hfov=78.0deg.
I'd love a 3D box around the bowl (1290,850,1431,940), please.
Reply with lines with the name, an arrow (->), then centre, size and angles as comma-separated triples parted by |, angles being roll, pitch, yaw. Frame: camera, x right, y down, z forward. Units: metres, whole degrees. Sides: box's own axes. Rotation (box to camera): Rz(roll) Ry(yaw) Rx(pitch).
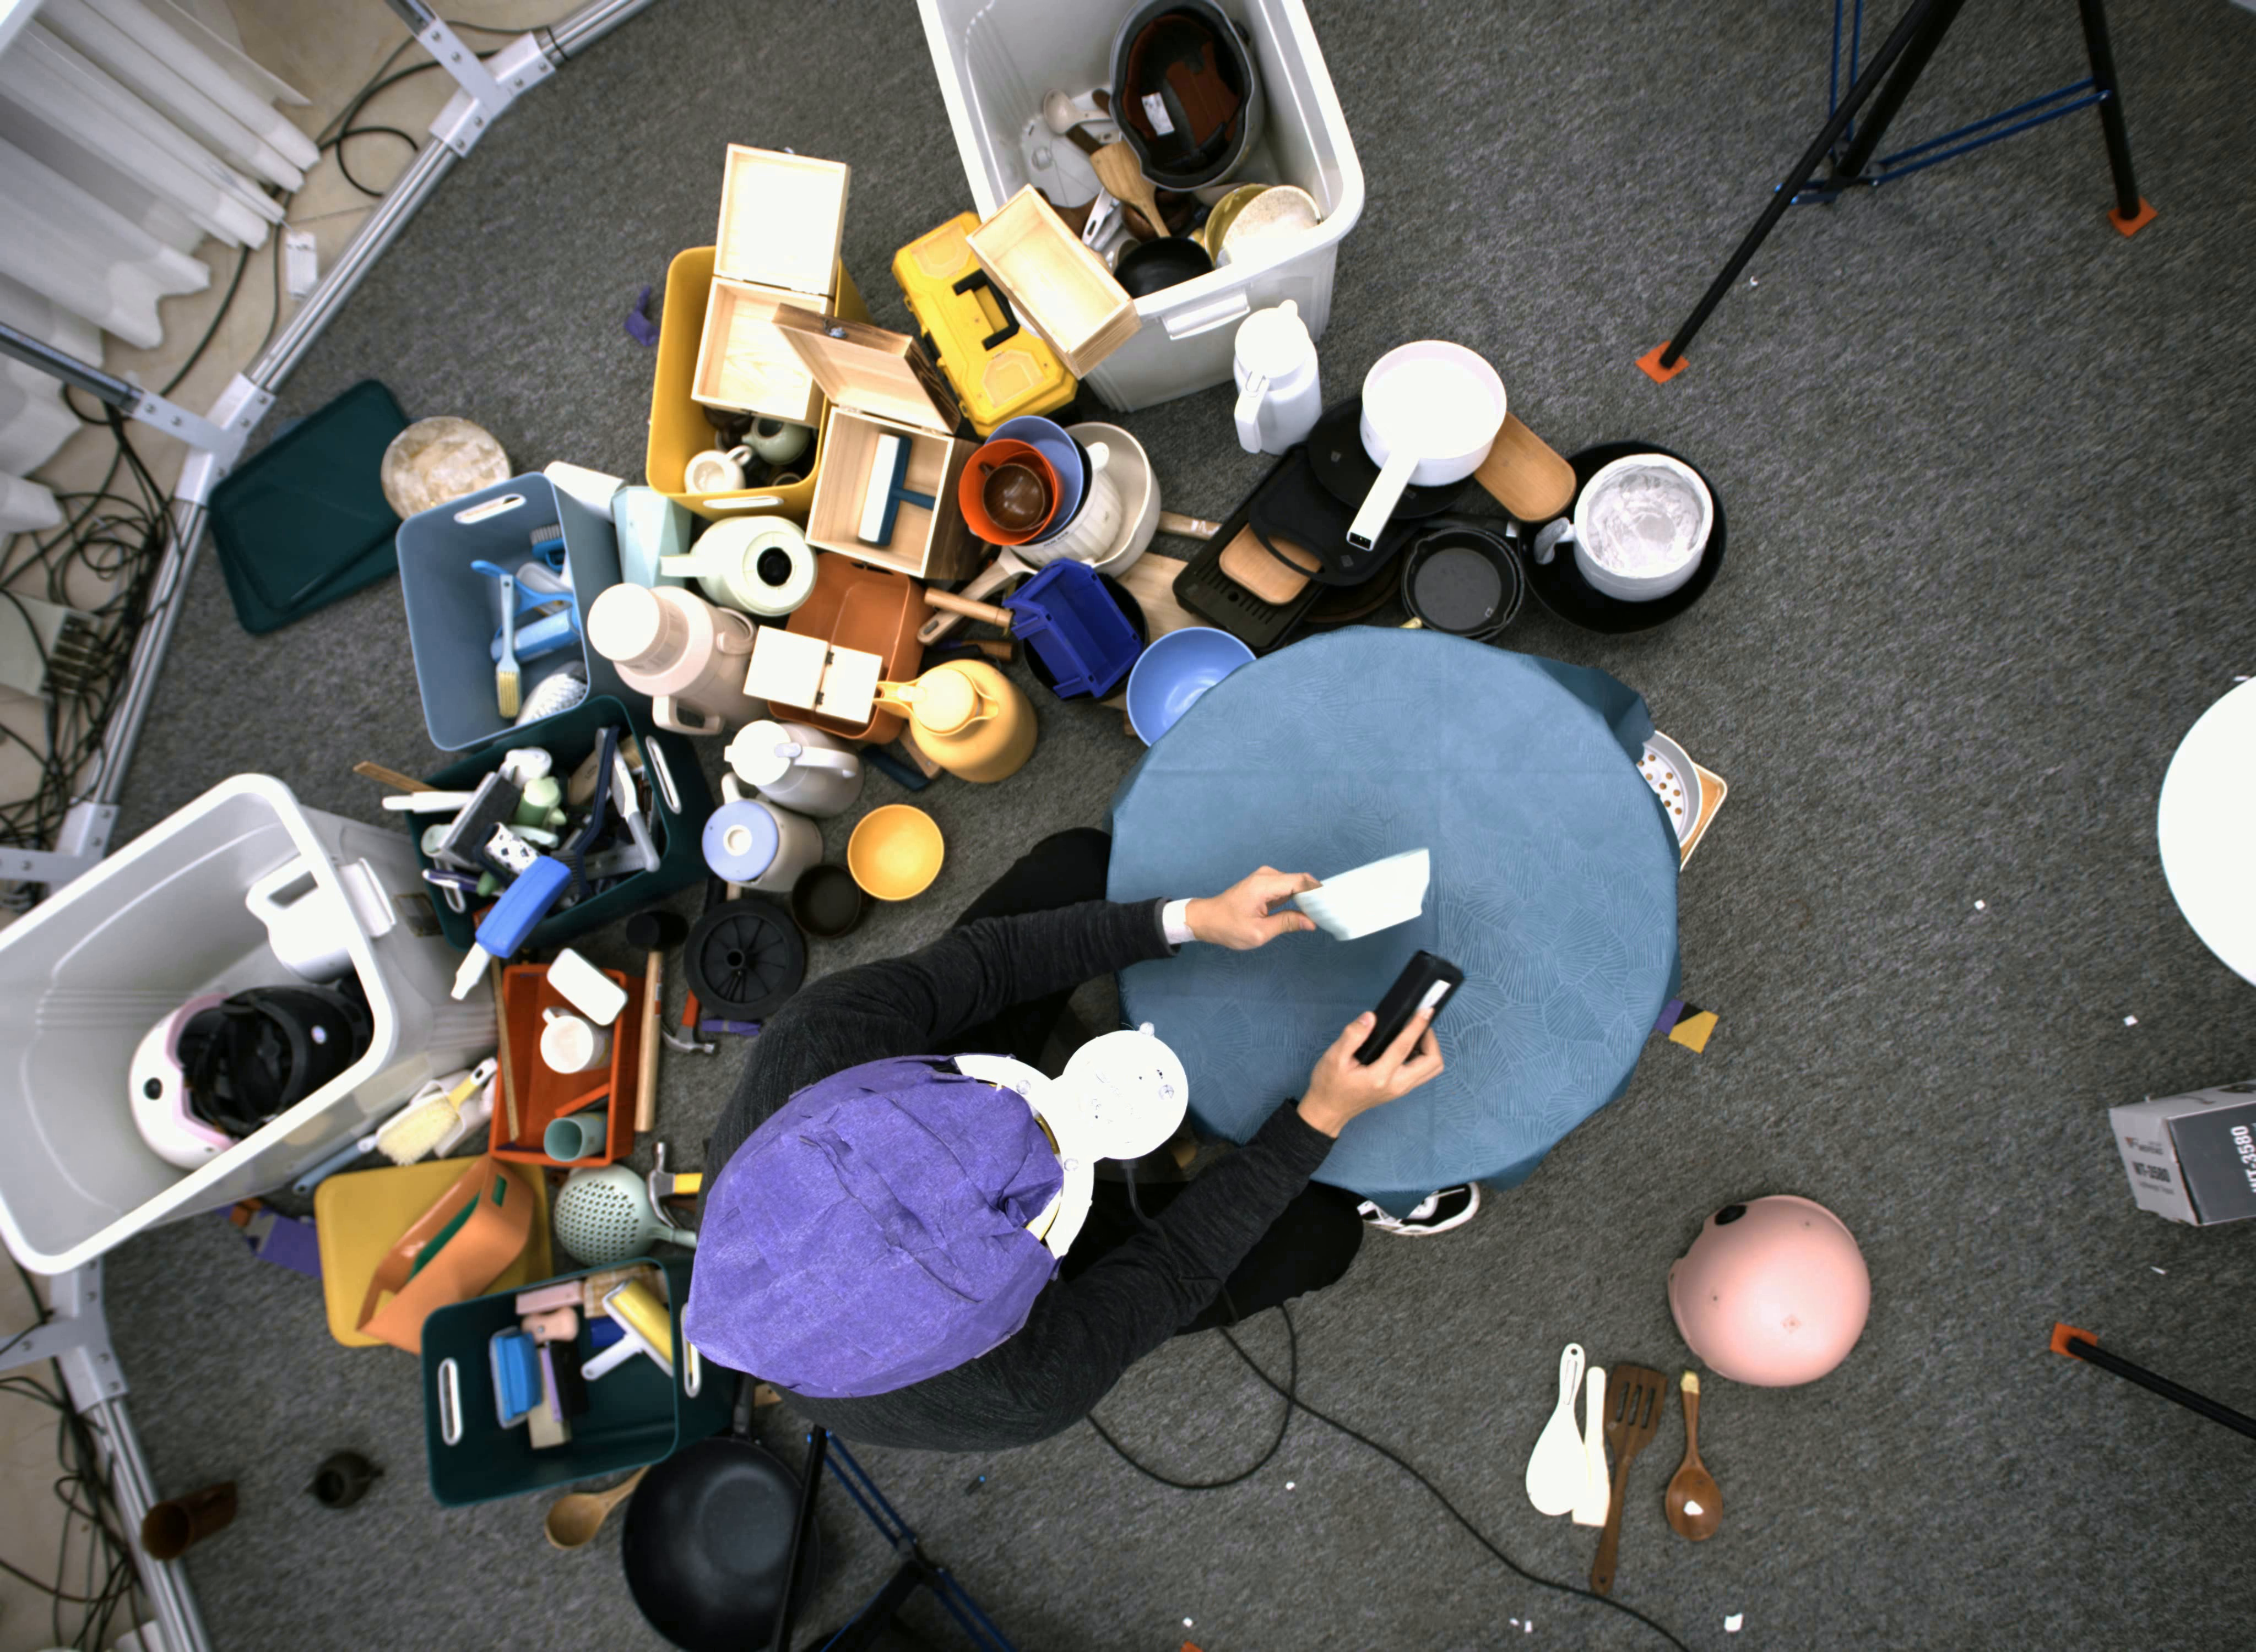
bowl -> 0.234, 0.070, 1.347 | 0.152, 0.151, 0.058 | -19, 89, 8

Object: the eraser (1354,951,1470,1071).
eraser -> 0.274, 0.178, 1.339 | 0.053, 0.030, 0.128 | 18, 117, -27
